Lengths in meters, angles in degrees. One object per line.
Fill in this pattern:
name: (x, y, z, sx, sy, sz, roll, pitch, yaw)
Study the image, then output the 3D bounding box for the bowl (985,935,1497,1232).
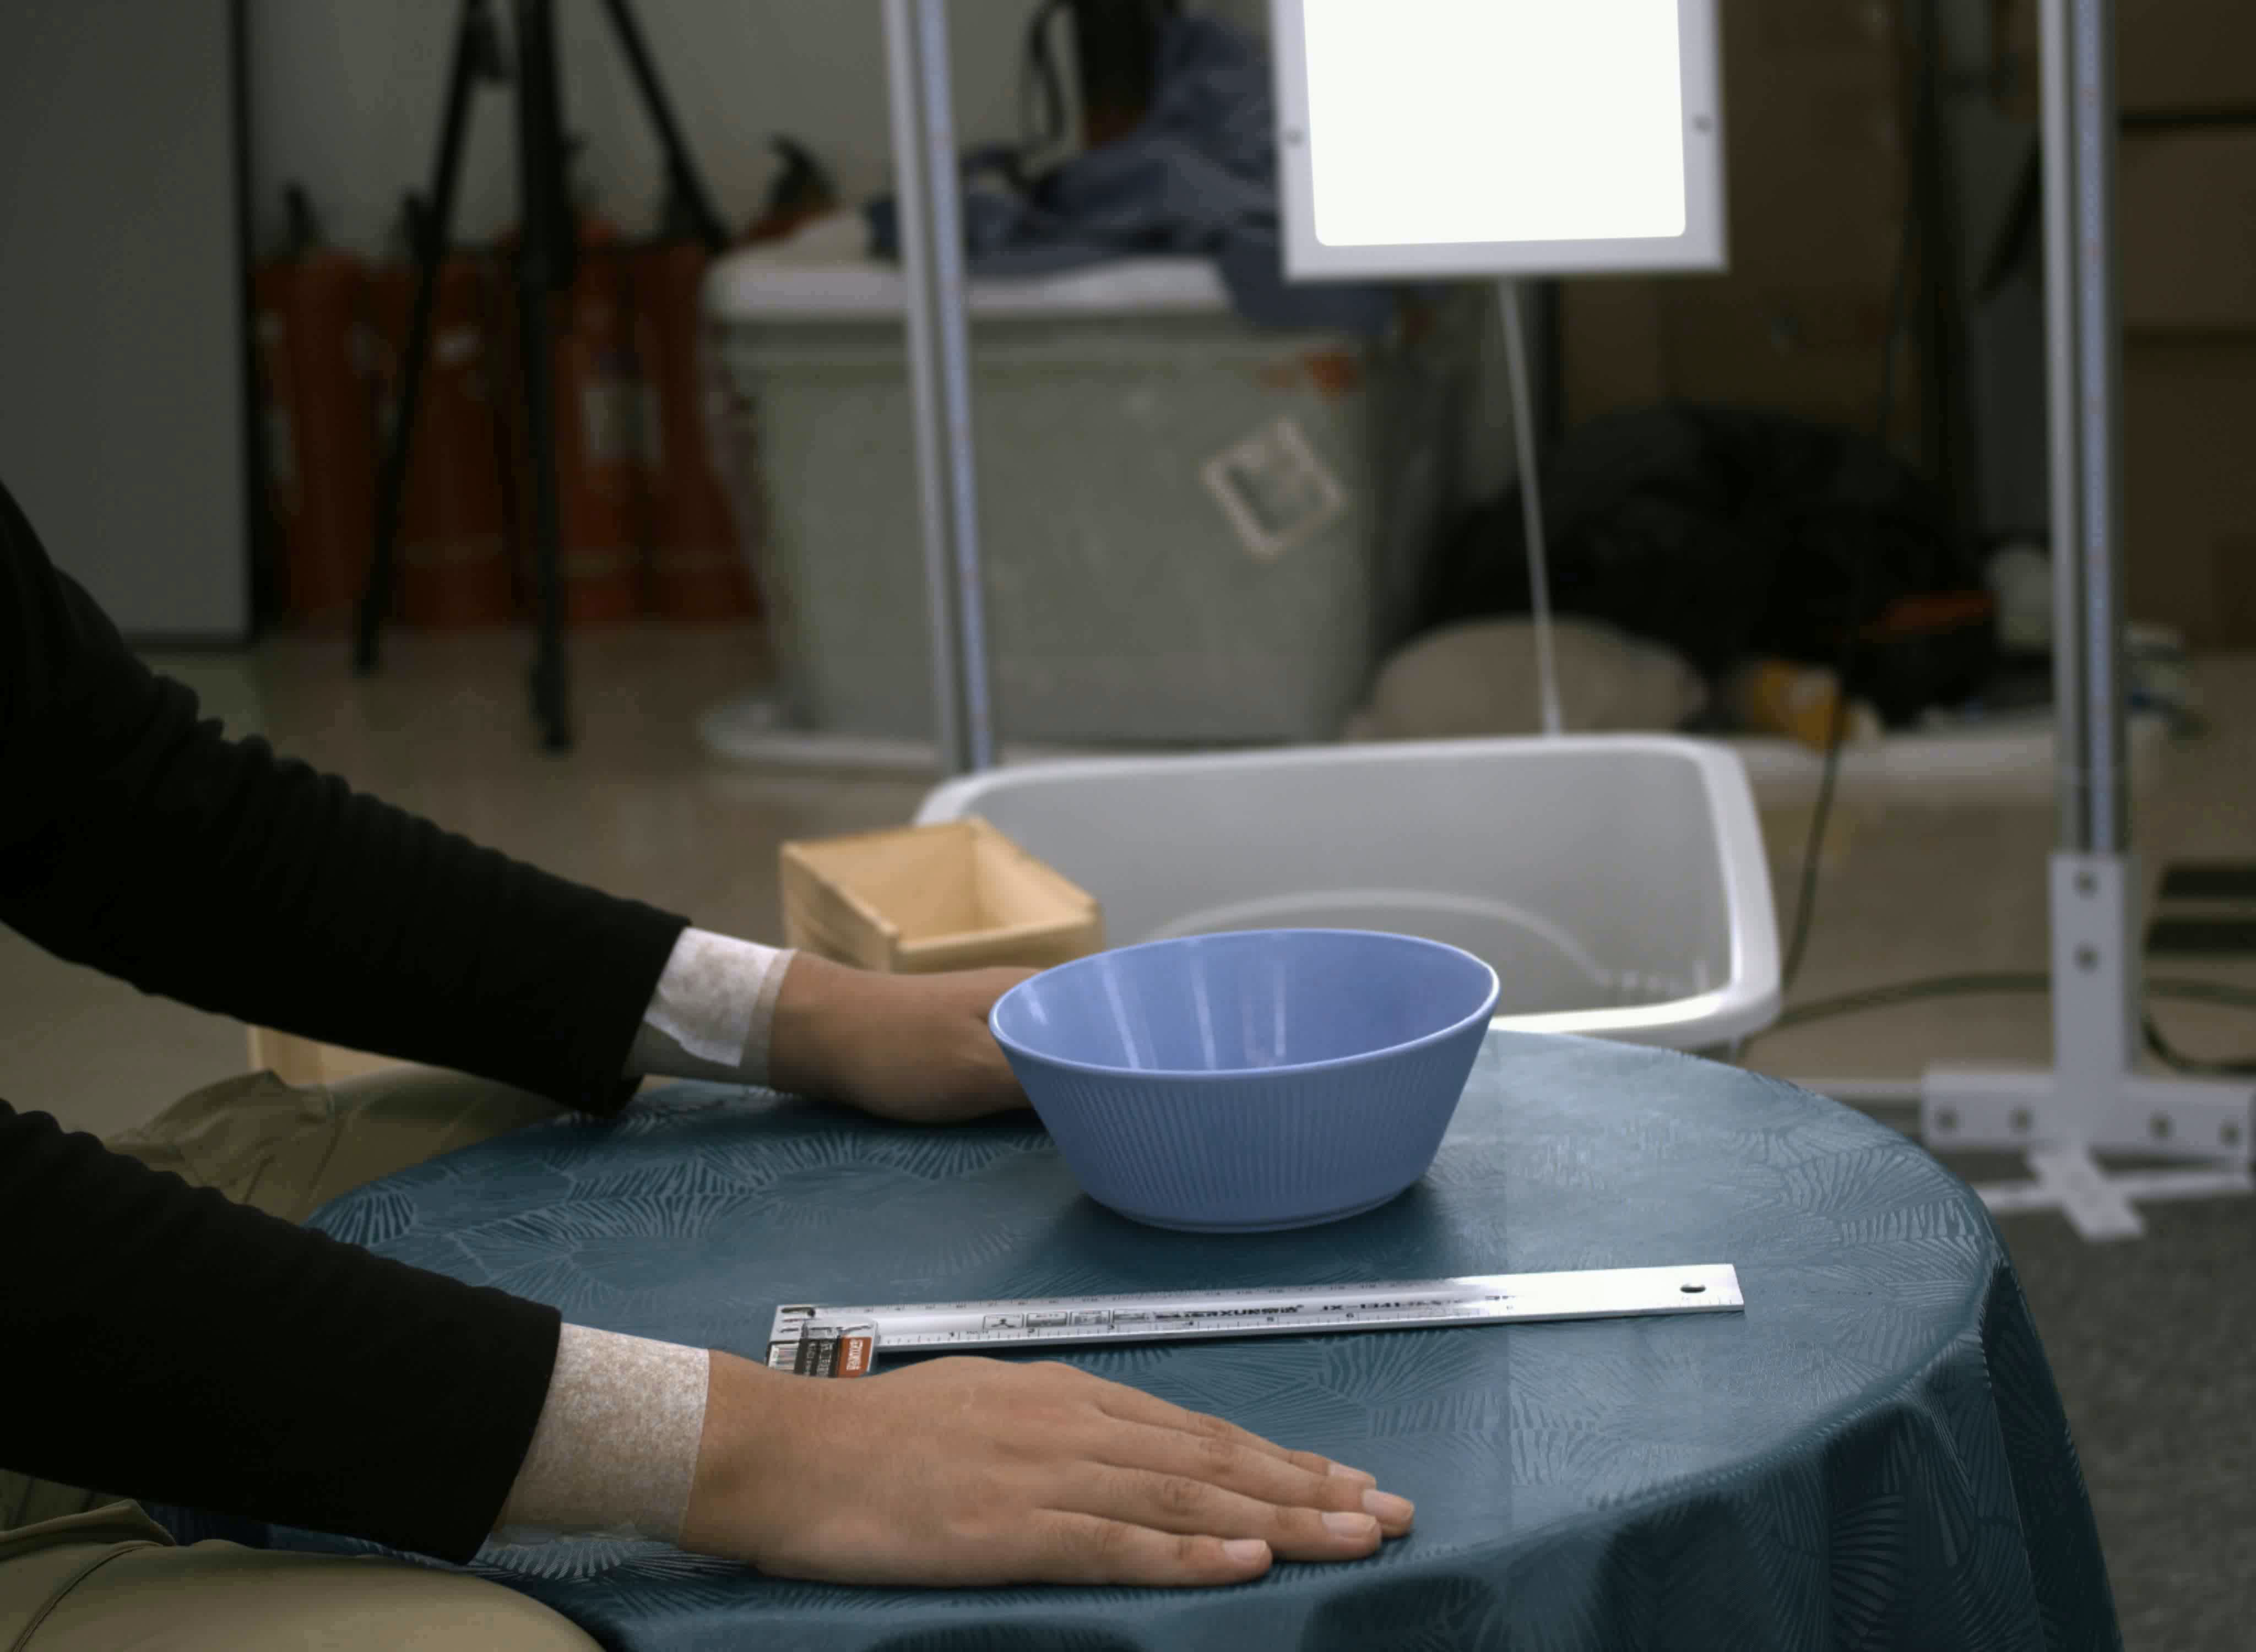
bowl: (0.041, 0.090, 1.885, 0.175, 0.070, 0.176, -5, 14, 0)

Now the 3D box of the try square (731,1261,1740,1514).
try square: (0.037, 0.170, 1.703, 0.313, 0.016, 0.151, -3, 17, 4)
